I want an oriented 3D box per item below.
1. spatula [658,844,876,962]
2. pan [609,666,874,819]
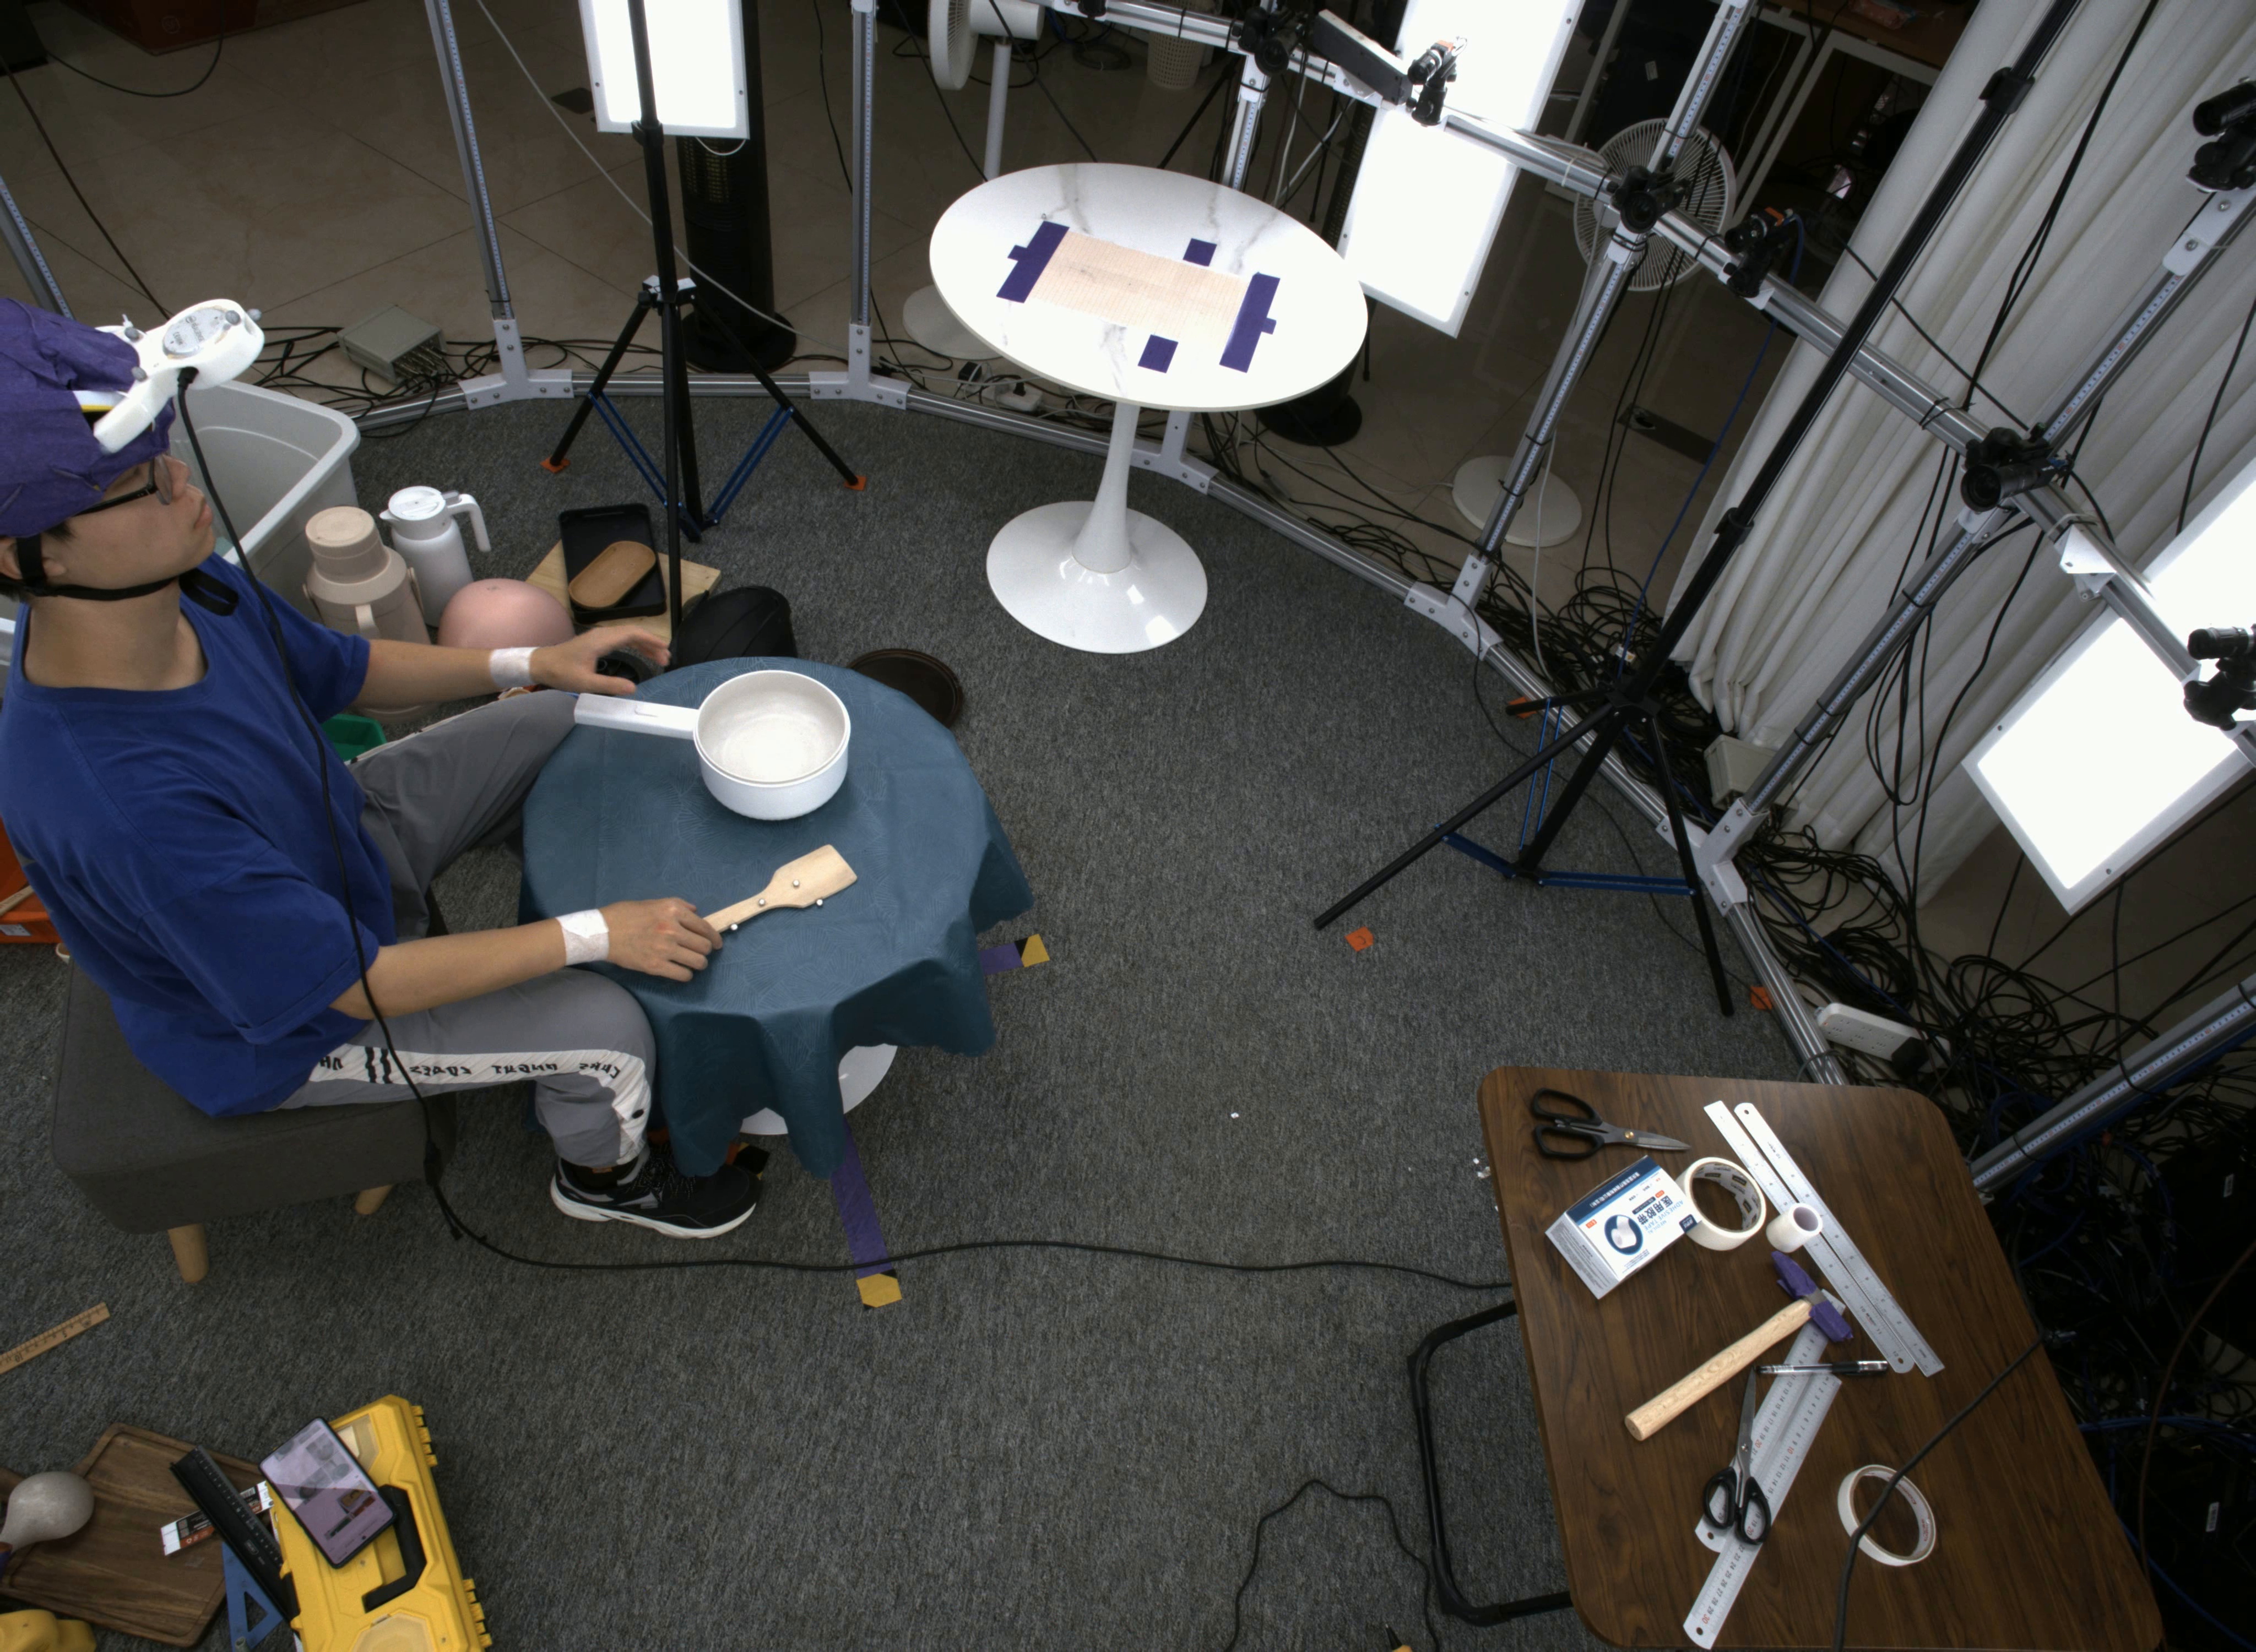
[{"bbox_3d":[-0.457,0.100,1.637,0.294,0.011,0.070,-26,64,-34],"label":"spatula"},{"bbox_3d":[-0.520,-0.118,1.735,0.354,0.104,0.198,9,54,-8],"label":"pan"}]
